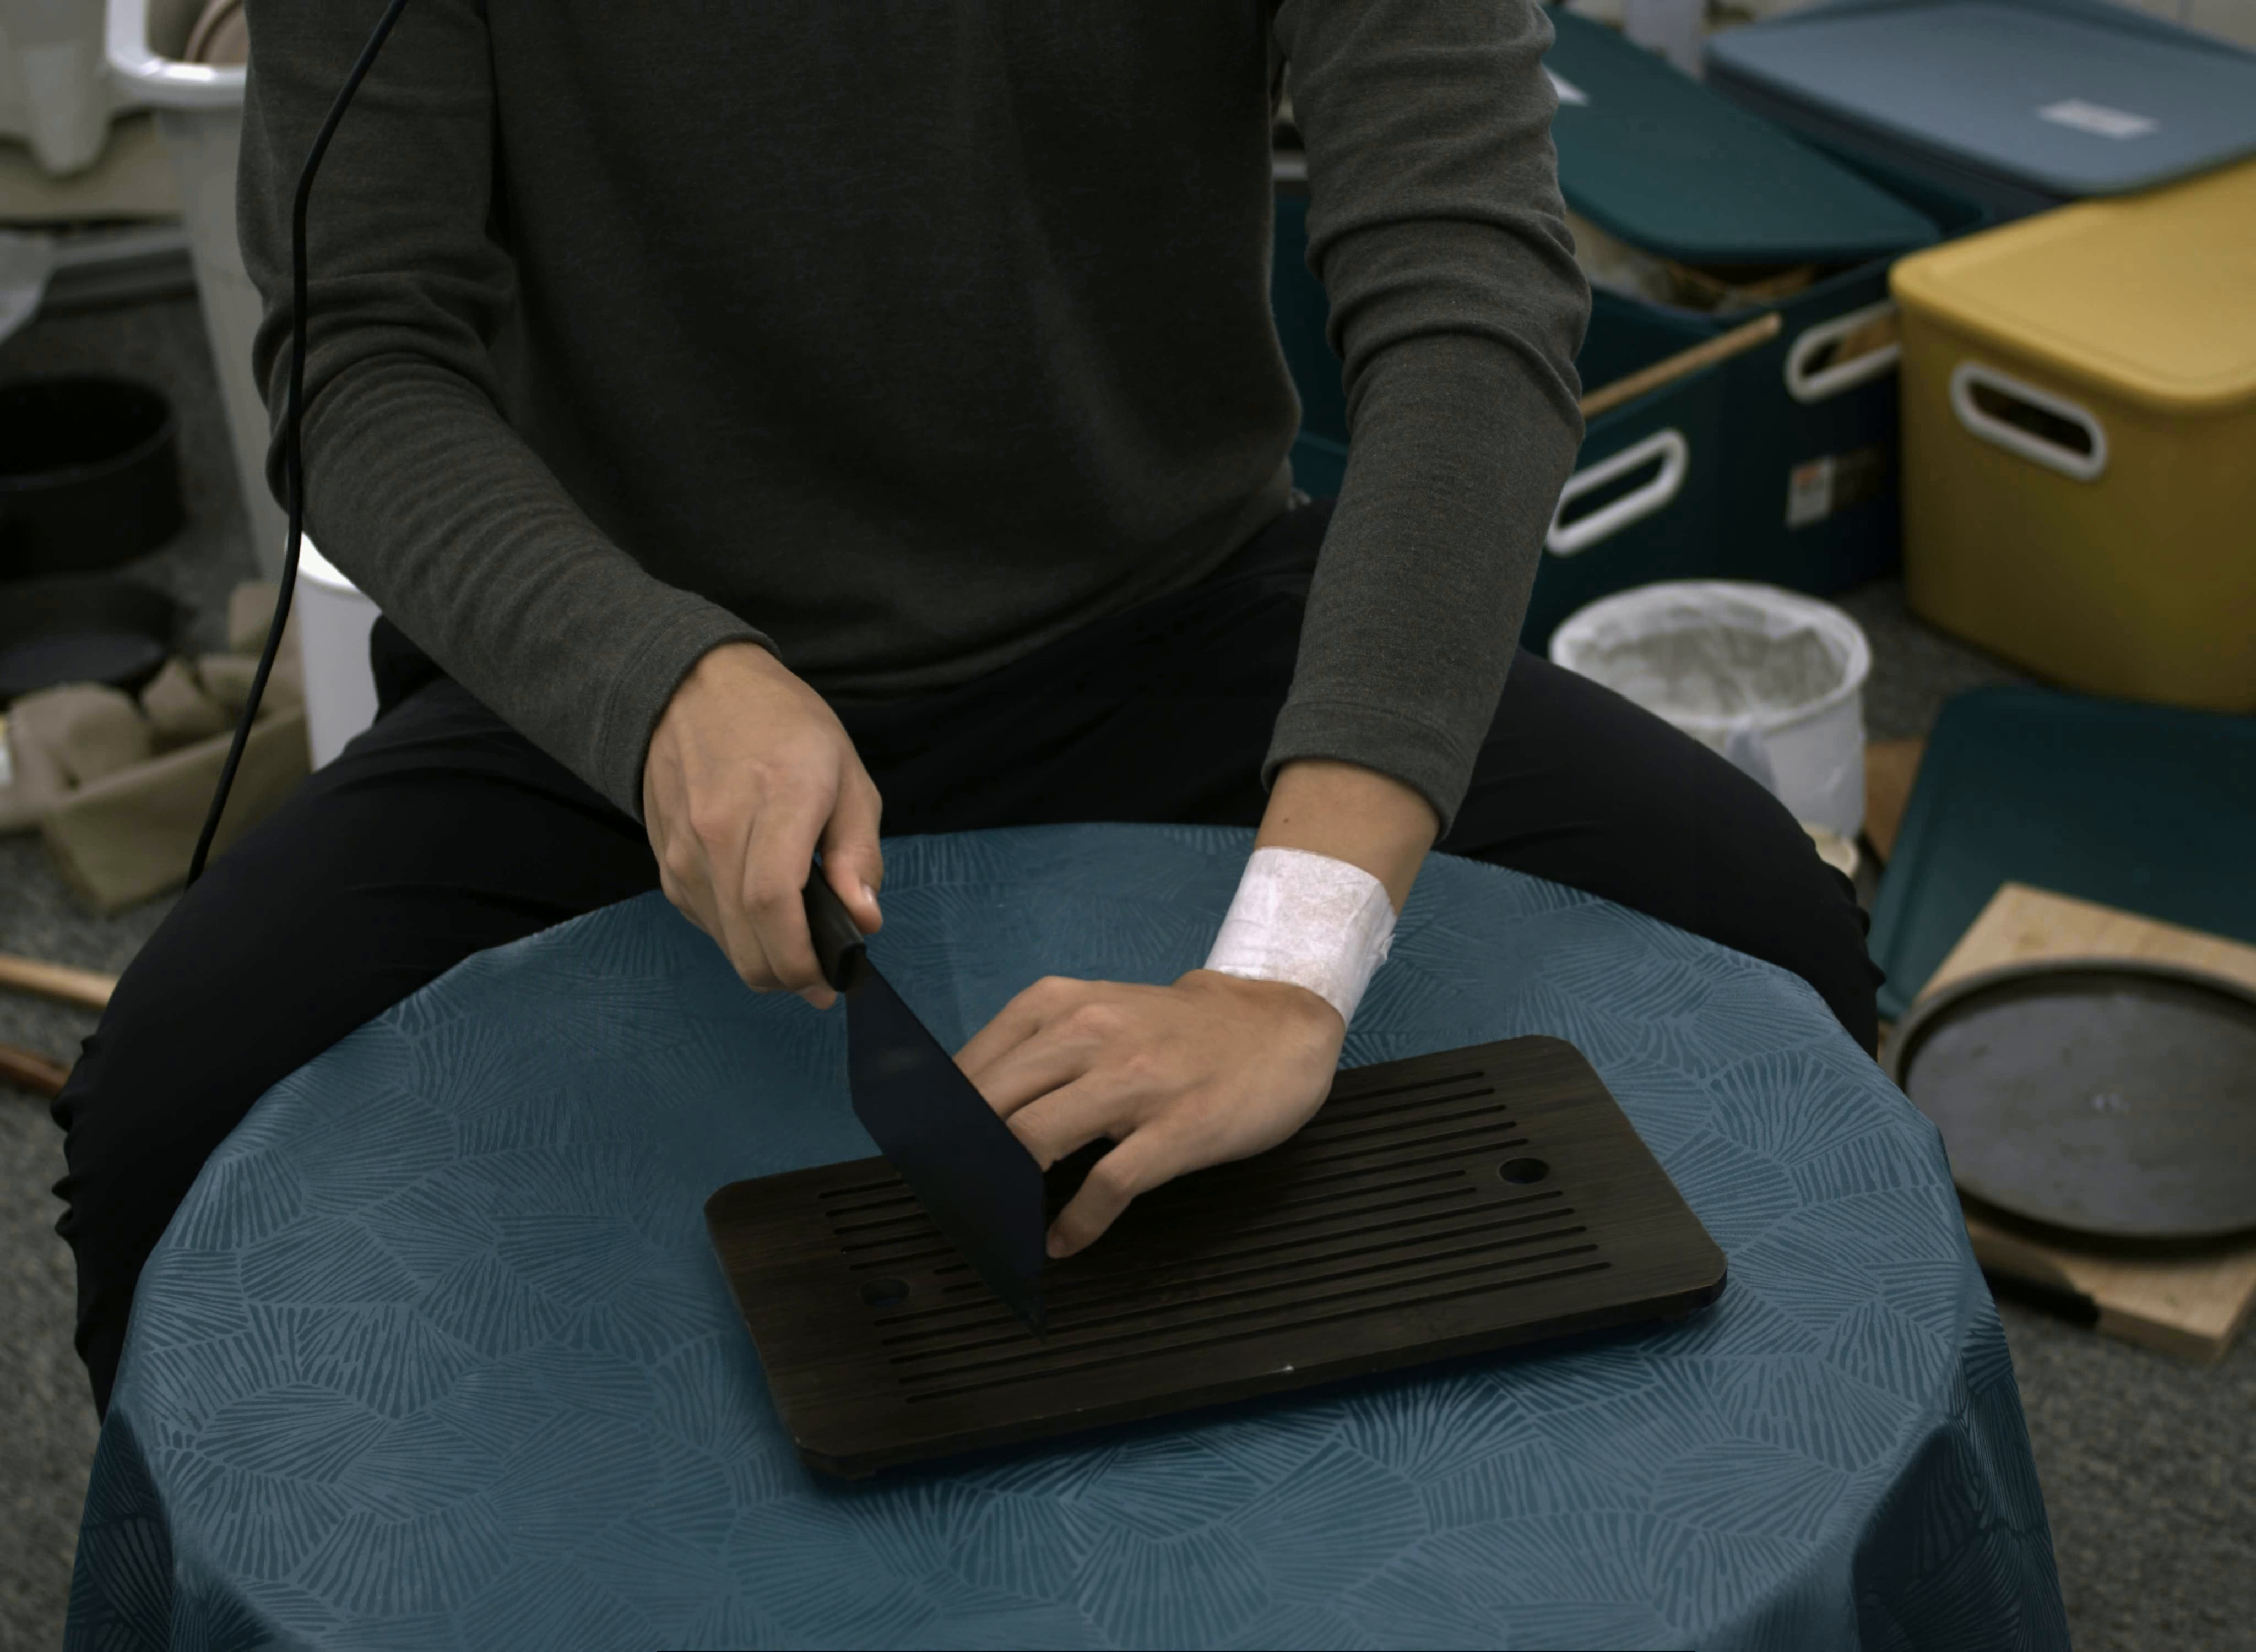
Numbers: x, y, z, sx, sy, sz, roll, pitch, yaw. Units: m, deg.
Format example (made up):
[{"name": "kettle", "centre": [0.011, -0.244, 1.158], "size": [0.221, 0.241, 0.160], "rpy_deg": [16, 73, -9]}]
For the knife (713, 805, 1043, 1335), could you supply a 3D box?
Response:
[{"name": "knife", "centre": [-0.080, 0.070, 1.795], "size": [0.021, 0.080, 0.305], "rpy_deg": [-8, 28, -20]}]

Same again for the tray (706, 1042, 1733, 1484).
[{"name": "tray", "centre": [0.027, 0.139, 1.805], "size": [0.306, 0.018, 0.172], "rpy_deg": [-9, 27, -13]}]
